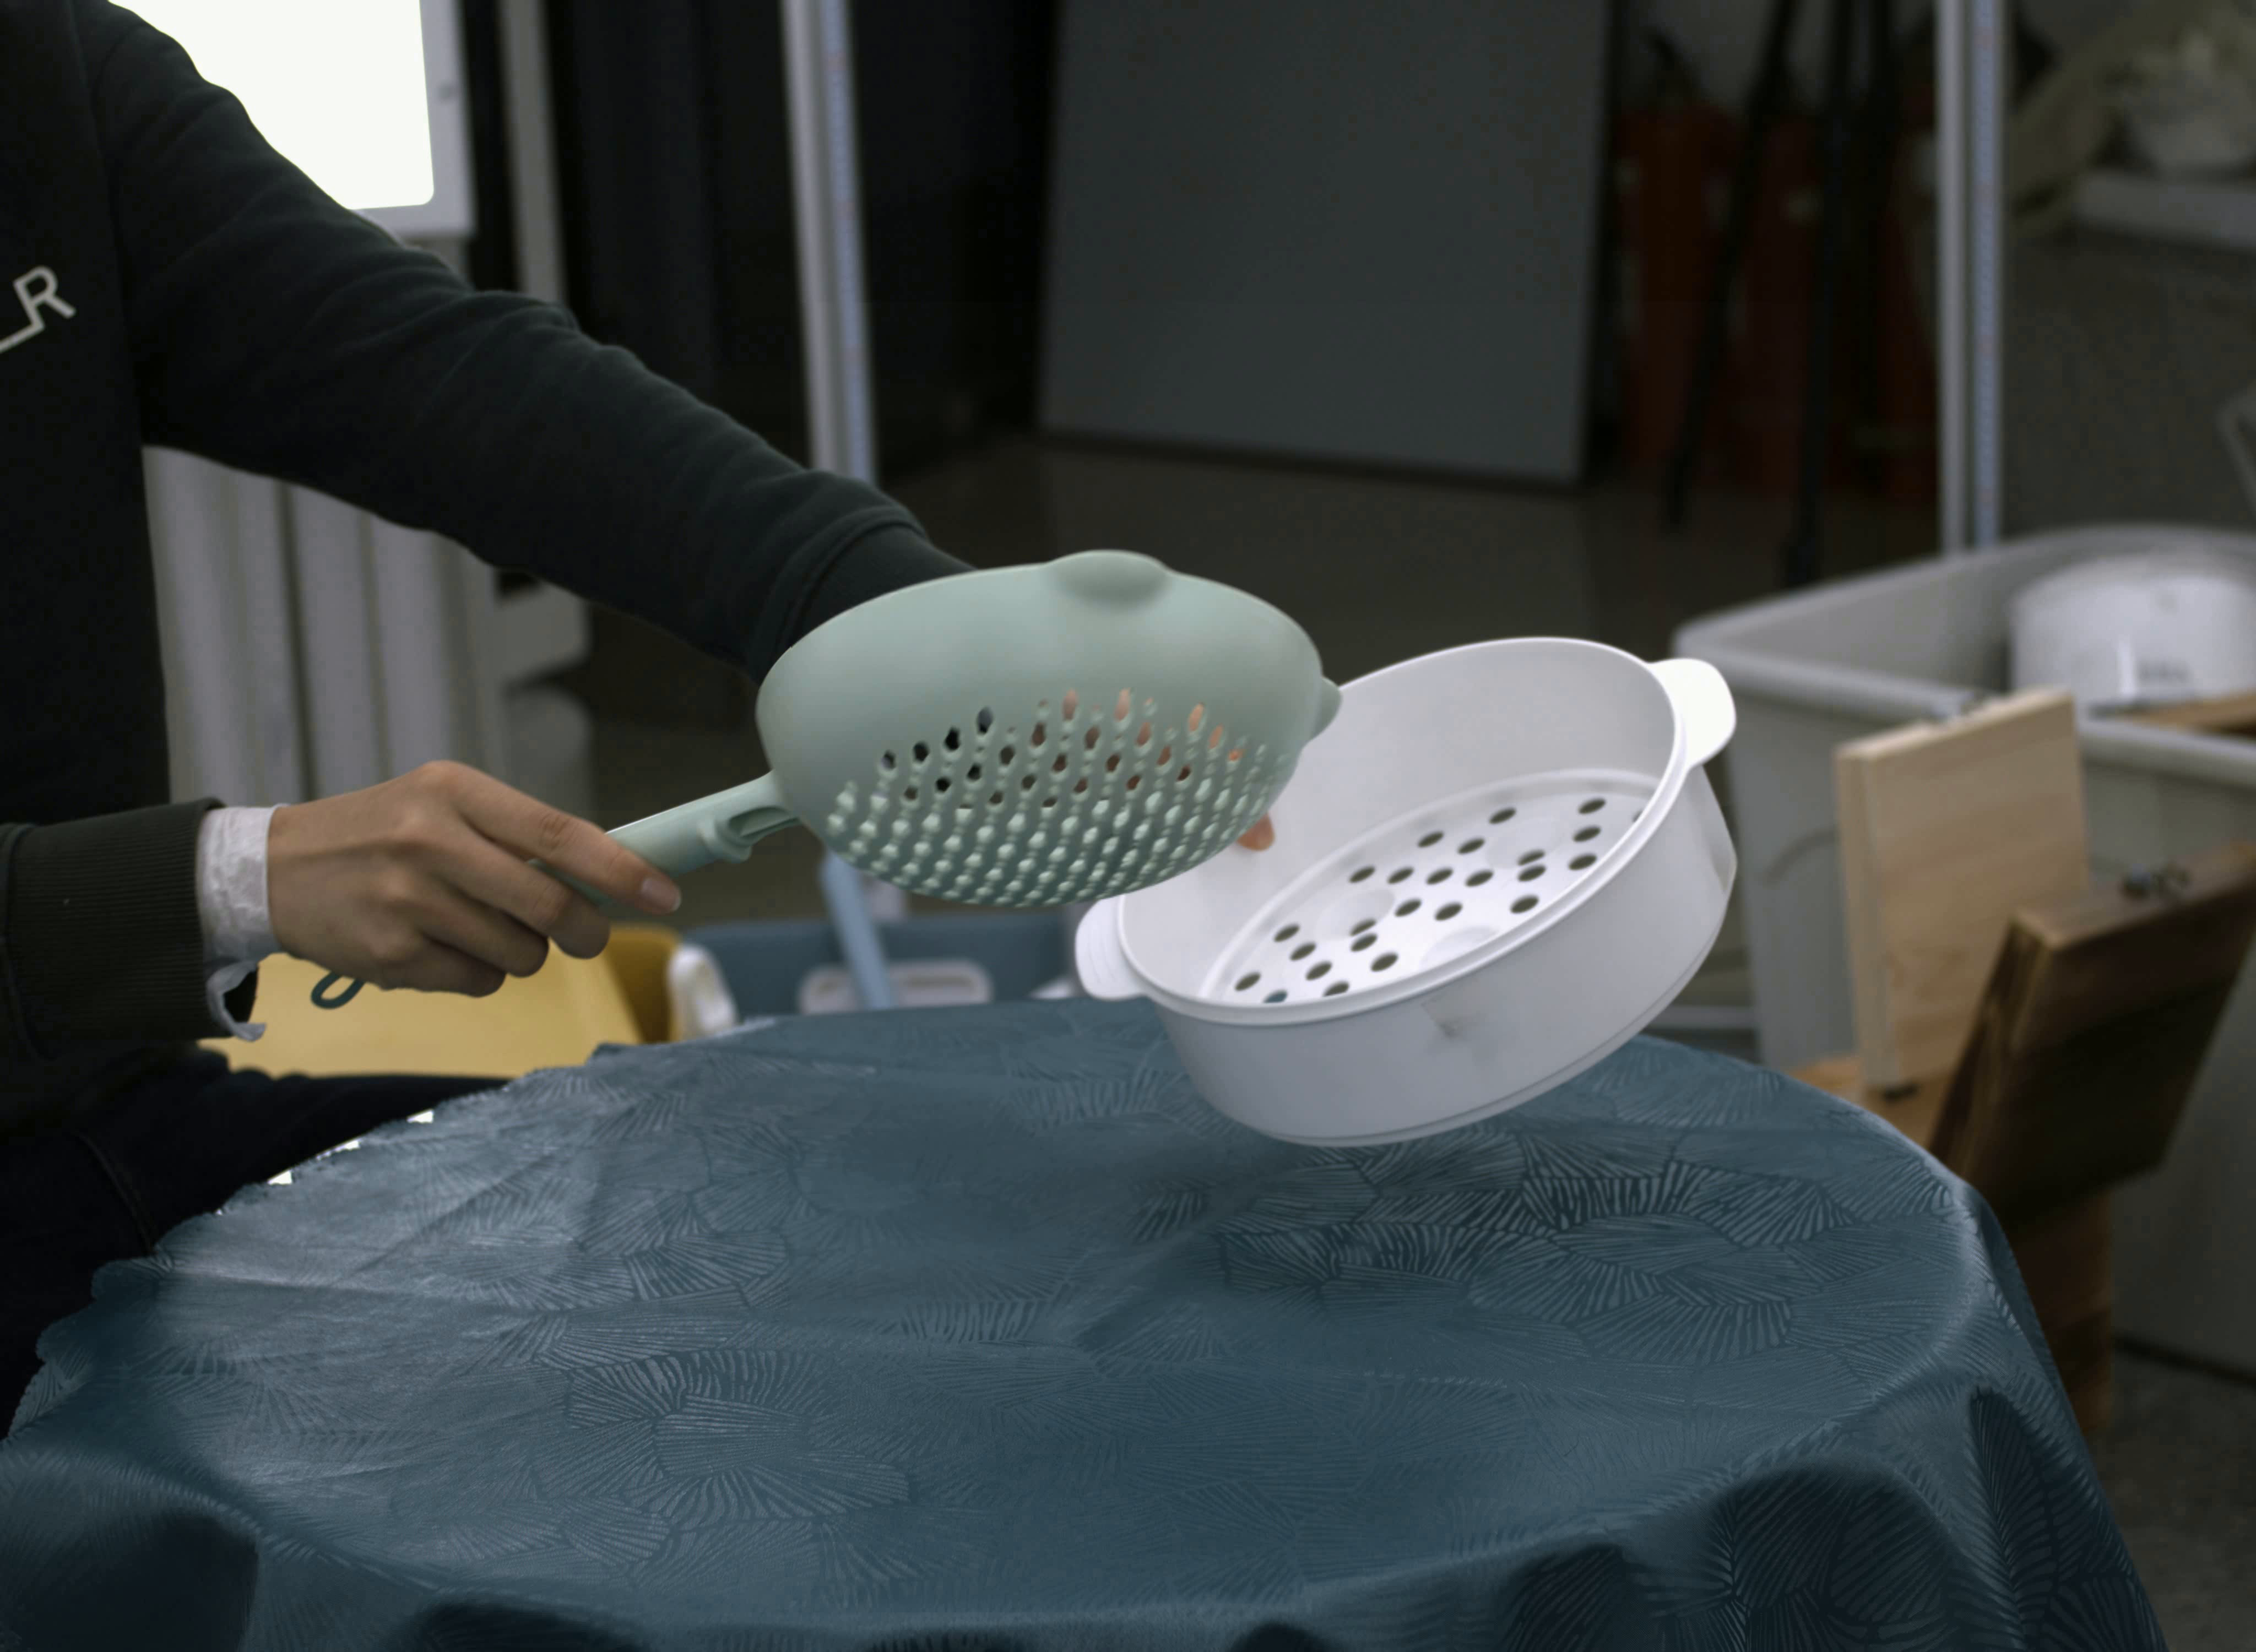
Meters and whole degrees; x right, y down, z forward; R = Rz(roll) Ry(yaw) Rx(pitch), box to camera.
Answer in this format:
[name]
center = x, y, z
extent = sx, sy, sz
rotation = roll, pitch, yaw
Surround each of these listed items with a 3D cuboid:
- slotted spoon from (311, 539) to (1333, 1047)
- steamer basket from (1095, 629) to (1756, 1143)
[slotted spoon]
center = -0.108, 0.001, 1.645
extent = 0.360, 0.076, 0.166
rotation = -12, -26, 31
[steamer basket]
center = 0.104, 0.021, 1.737
extent = 0.229, 0.069, 0.203
rotation = -25, 26, 7
